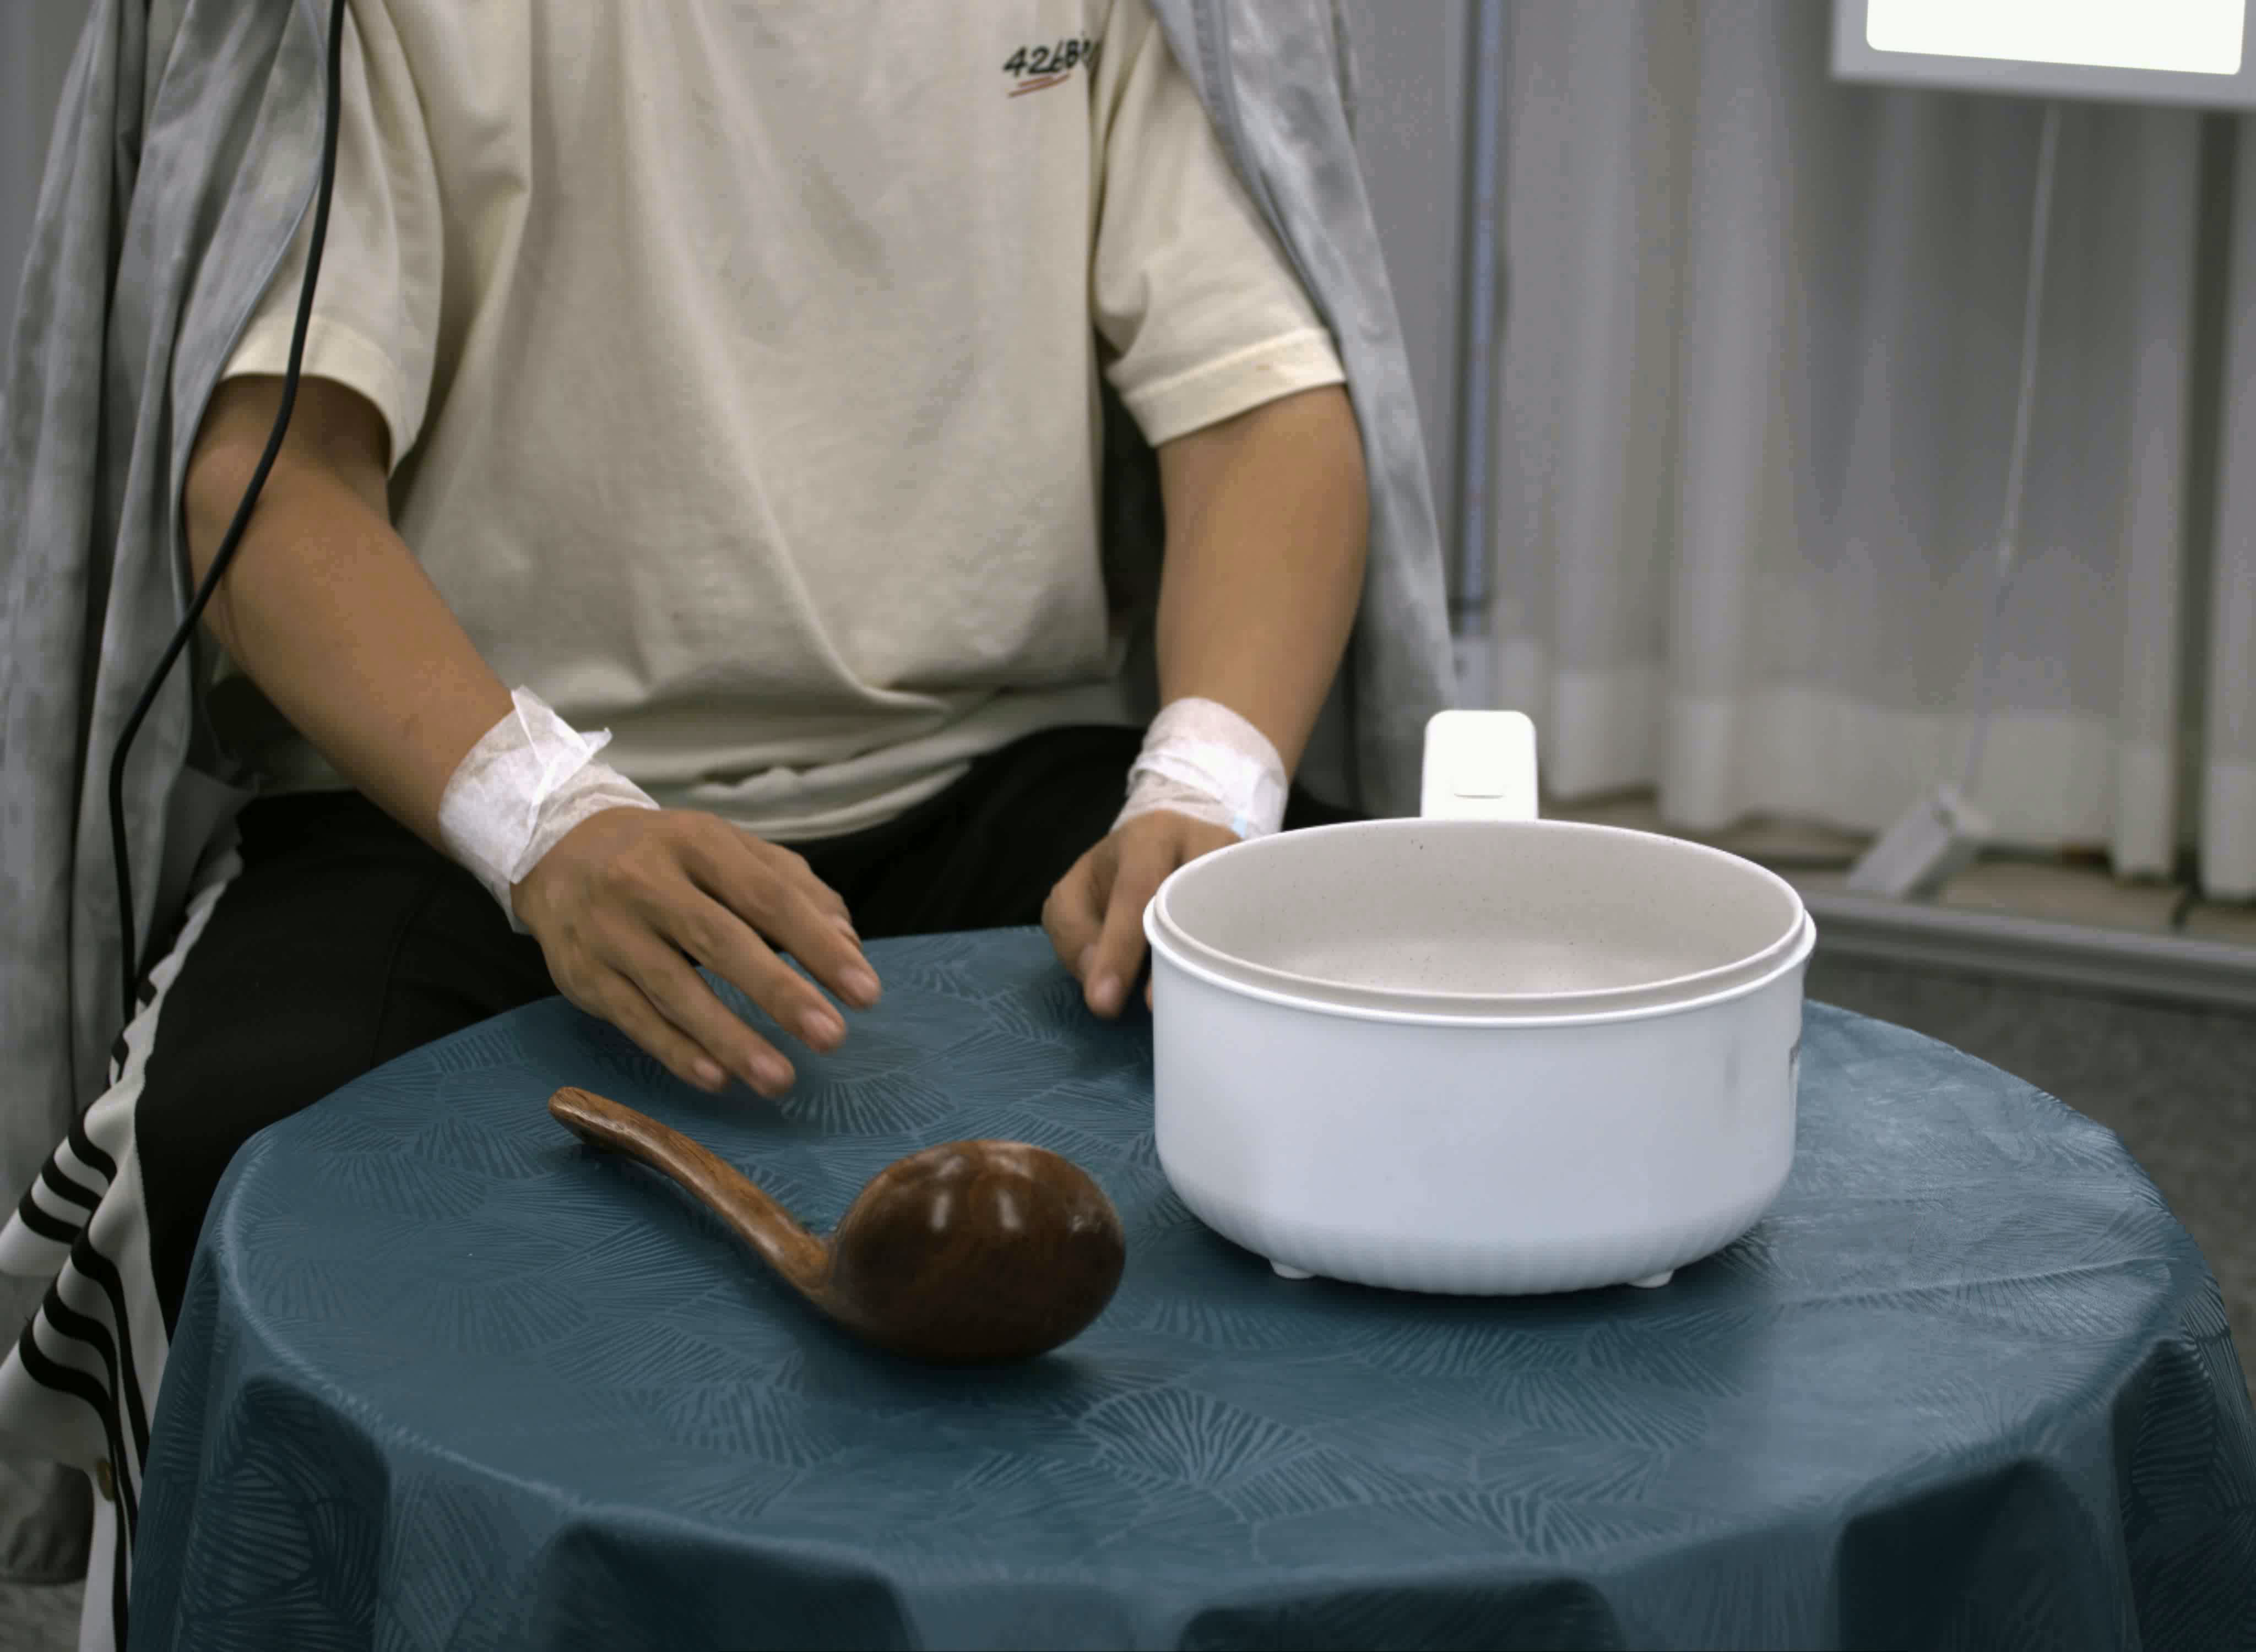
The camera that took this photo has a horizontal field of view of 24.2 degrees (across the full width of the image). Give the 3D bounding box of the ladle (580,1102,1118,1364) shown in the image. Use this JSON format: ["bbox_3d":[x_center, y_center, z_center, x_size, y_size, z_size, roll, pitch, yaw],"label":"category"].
[{"bbox_3d":[-0.090,0.097,1.552,0.076,0.083,0.271,-49,27,-8],"label":"ladle"}]

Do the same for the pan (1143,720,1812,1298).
[{"bbox_3d":[0.110,0.053,1.664,0.200,0.103,0.353,0,15,4],"label":"pan"}]
